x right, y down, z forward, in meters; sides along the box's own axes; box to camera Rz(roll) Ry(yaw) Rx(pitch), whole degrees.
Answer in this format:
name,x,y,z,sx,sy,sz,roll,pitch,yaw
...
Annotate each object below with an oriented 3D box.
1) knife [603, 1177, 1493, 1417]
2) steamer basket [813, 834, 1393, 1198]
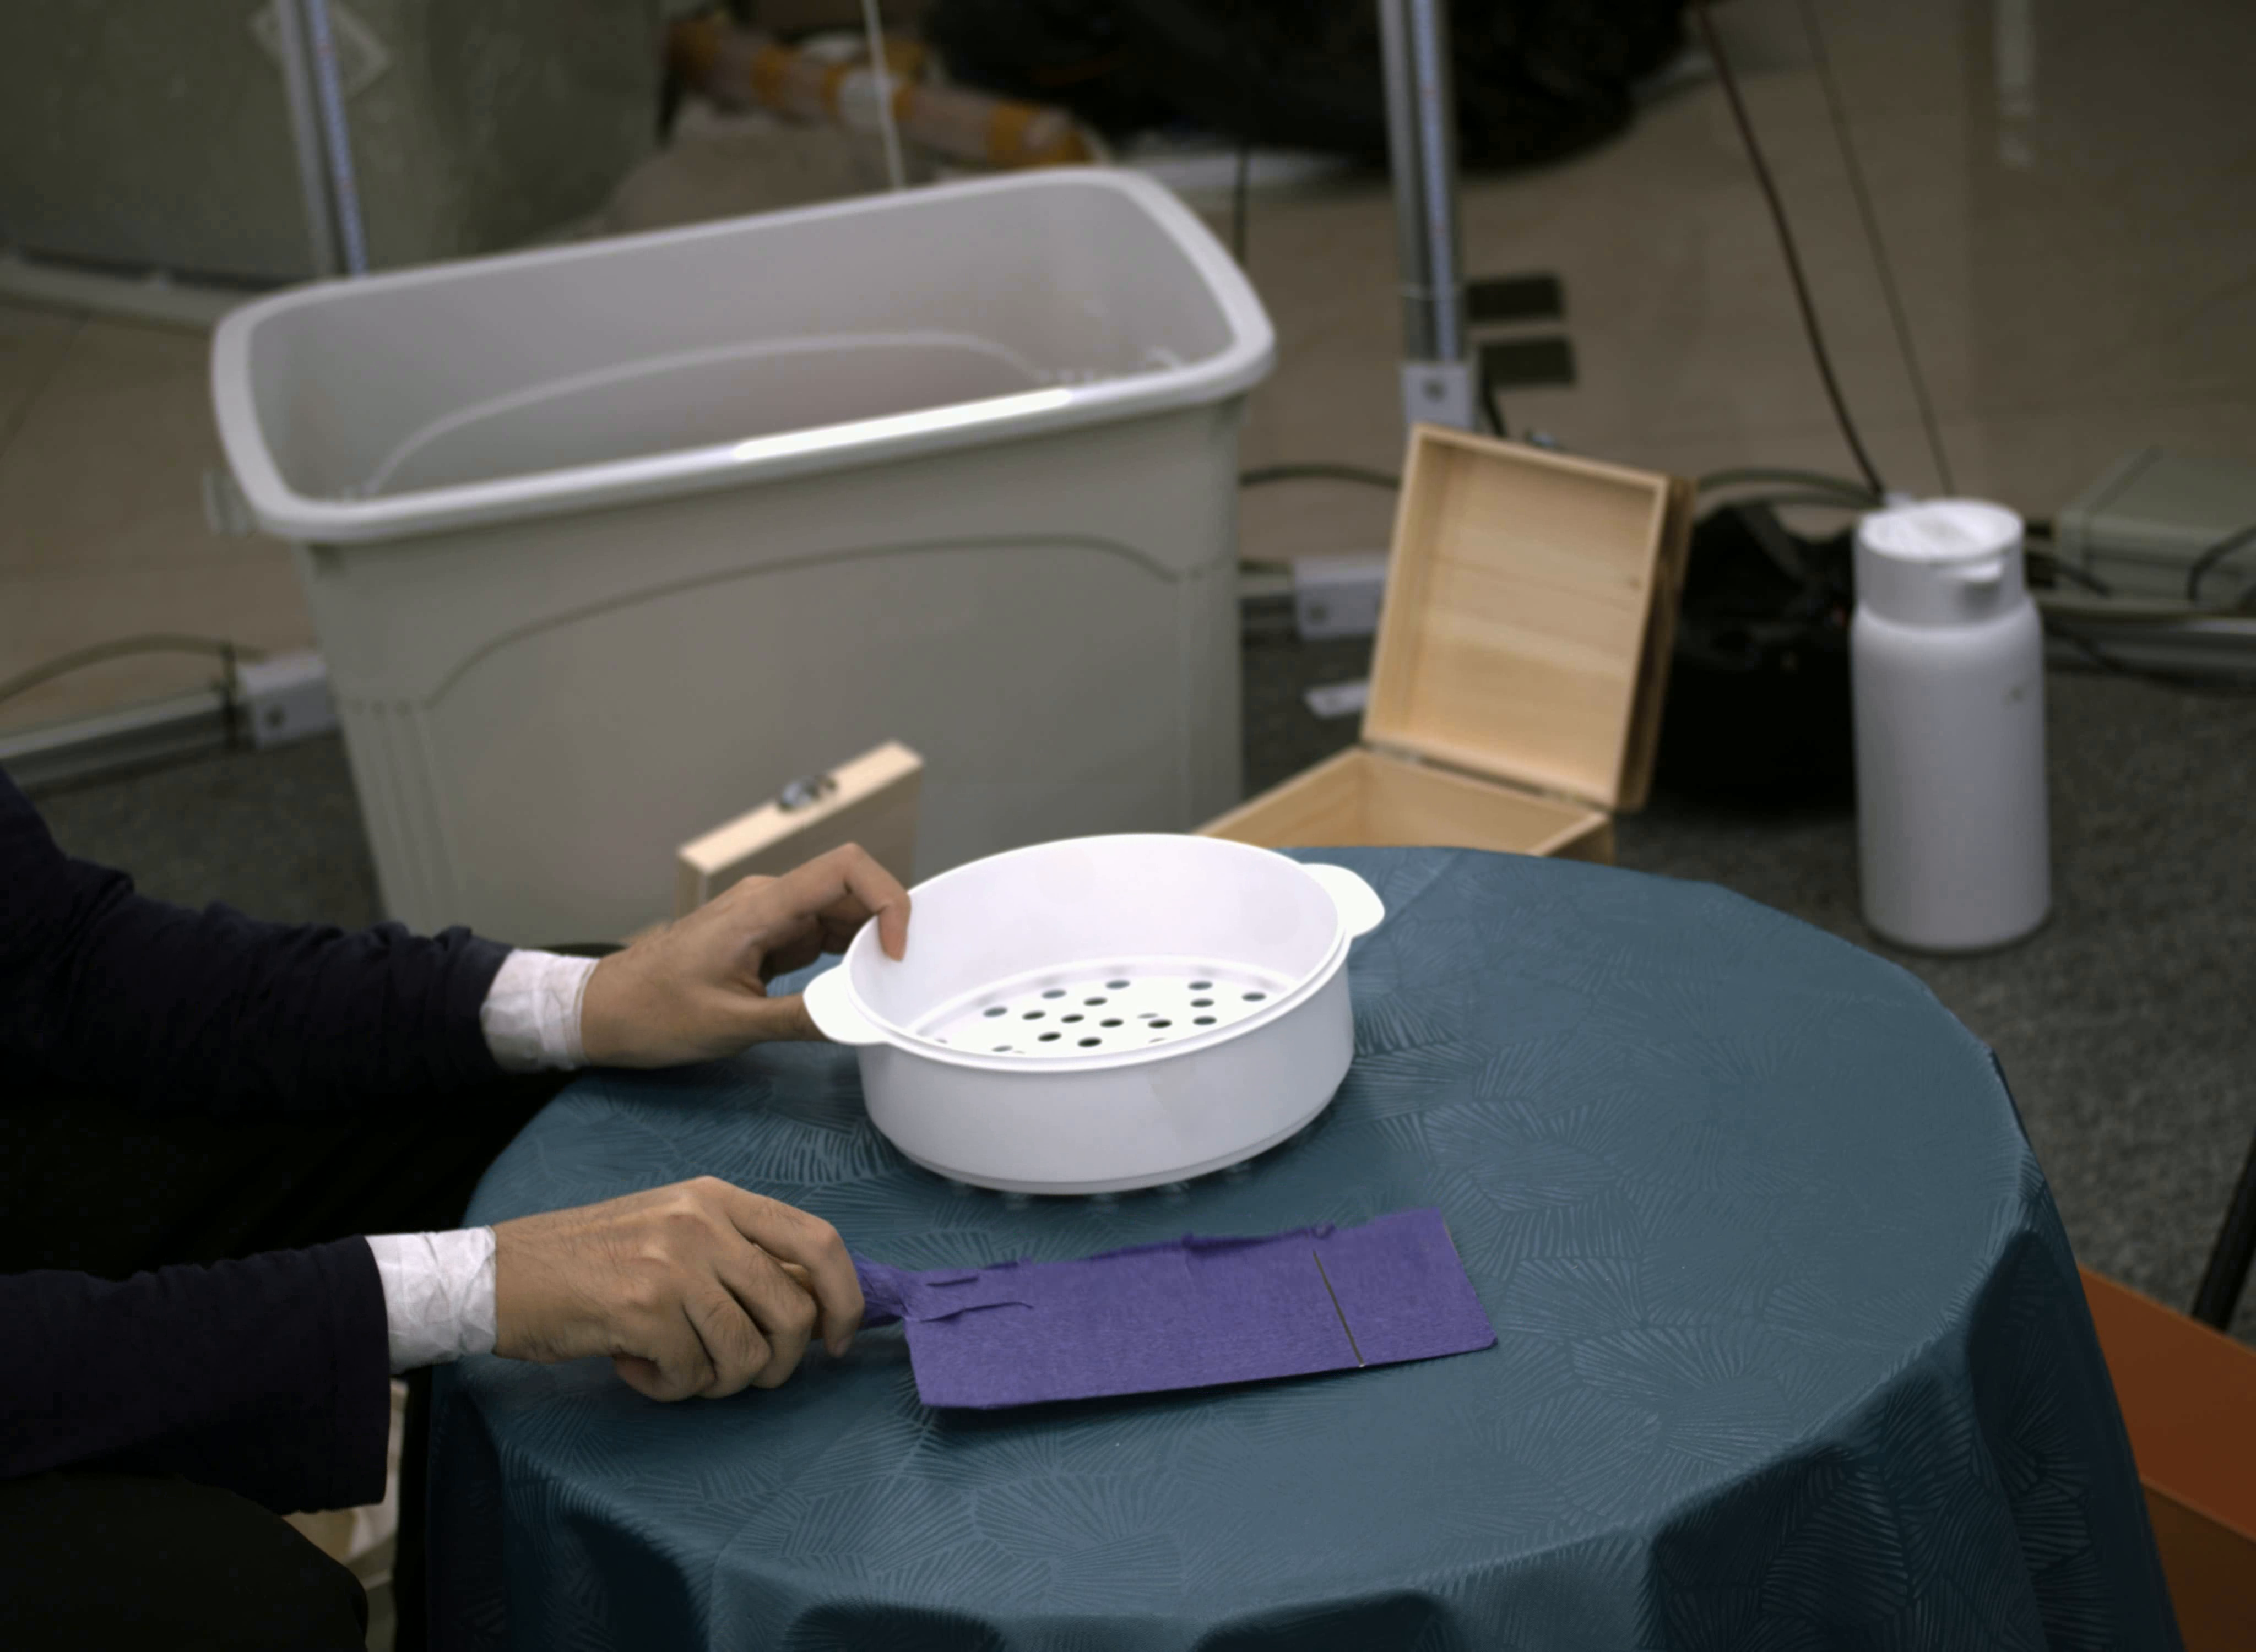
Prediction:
name,x,y,z,sx,sy,sz,roll,pitch,yaw
knife,-0.029,0.175,2.036,0.314,0.033,0.102,-8,31,-6
steamer basket,-0.005,0.075,2.214,0.230,0.070,0.199,-15,25,-11
